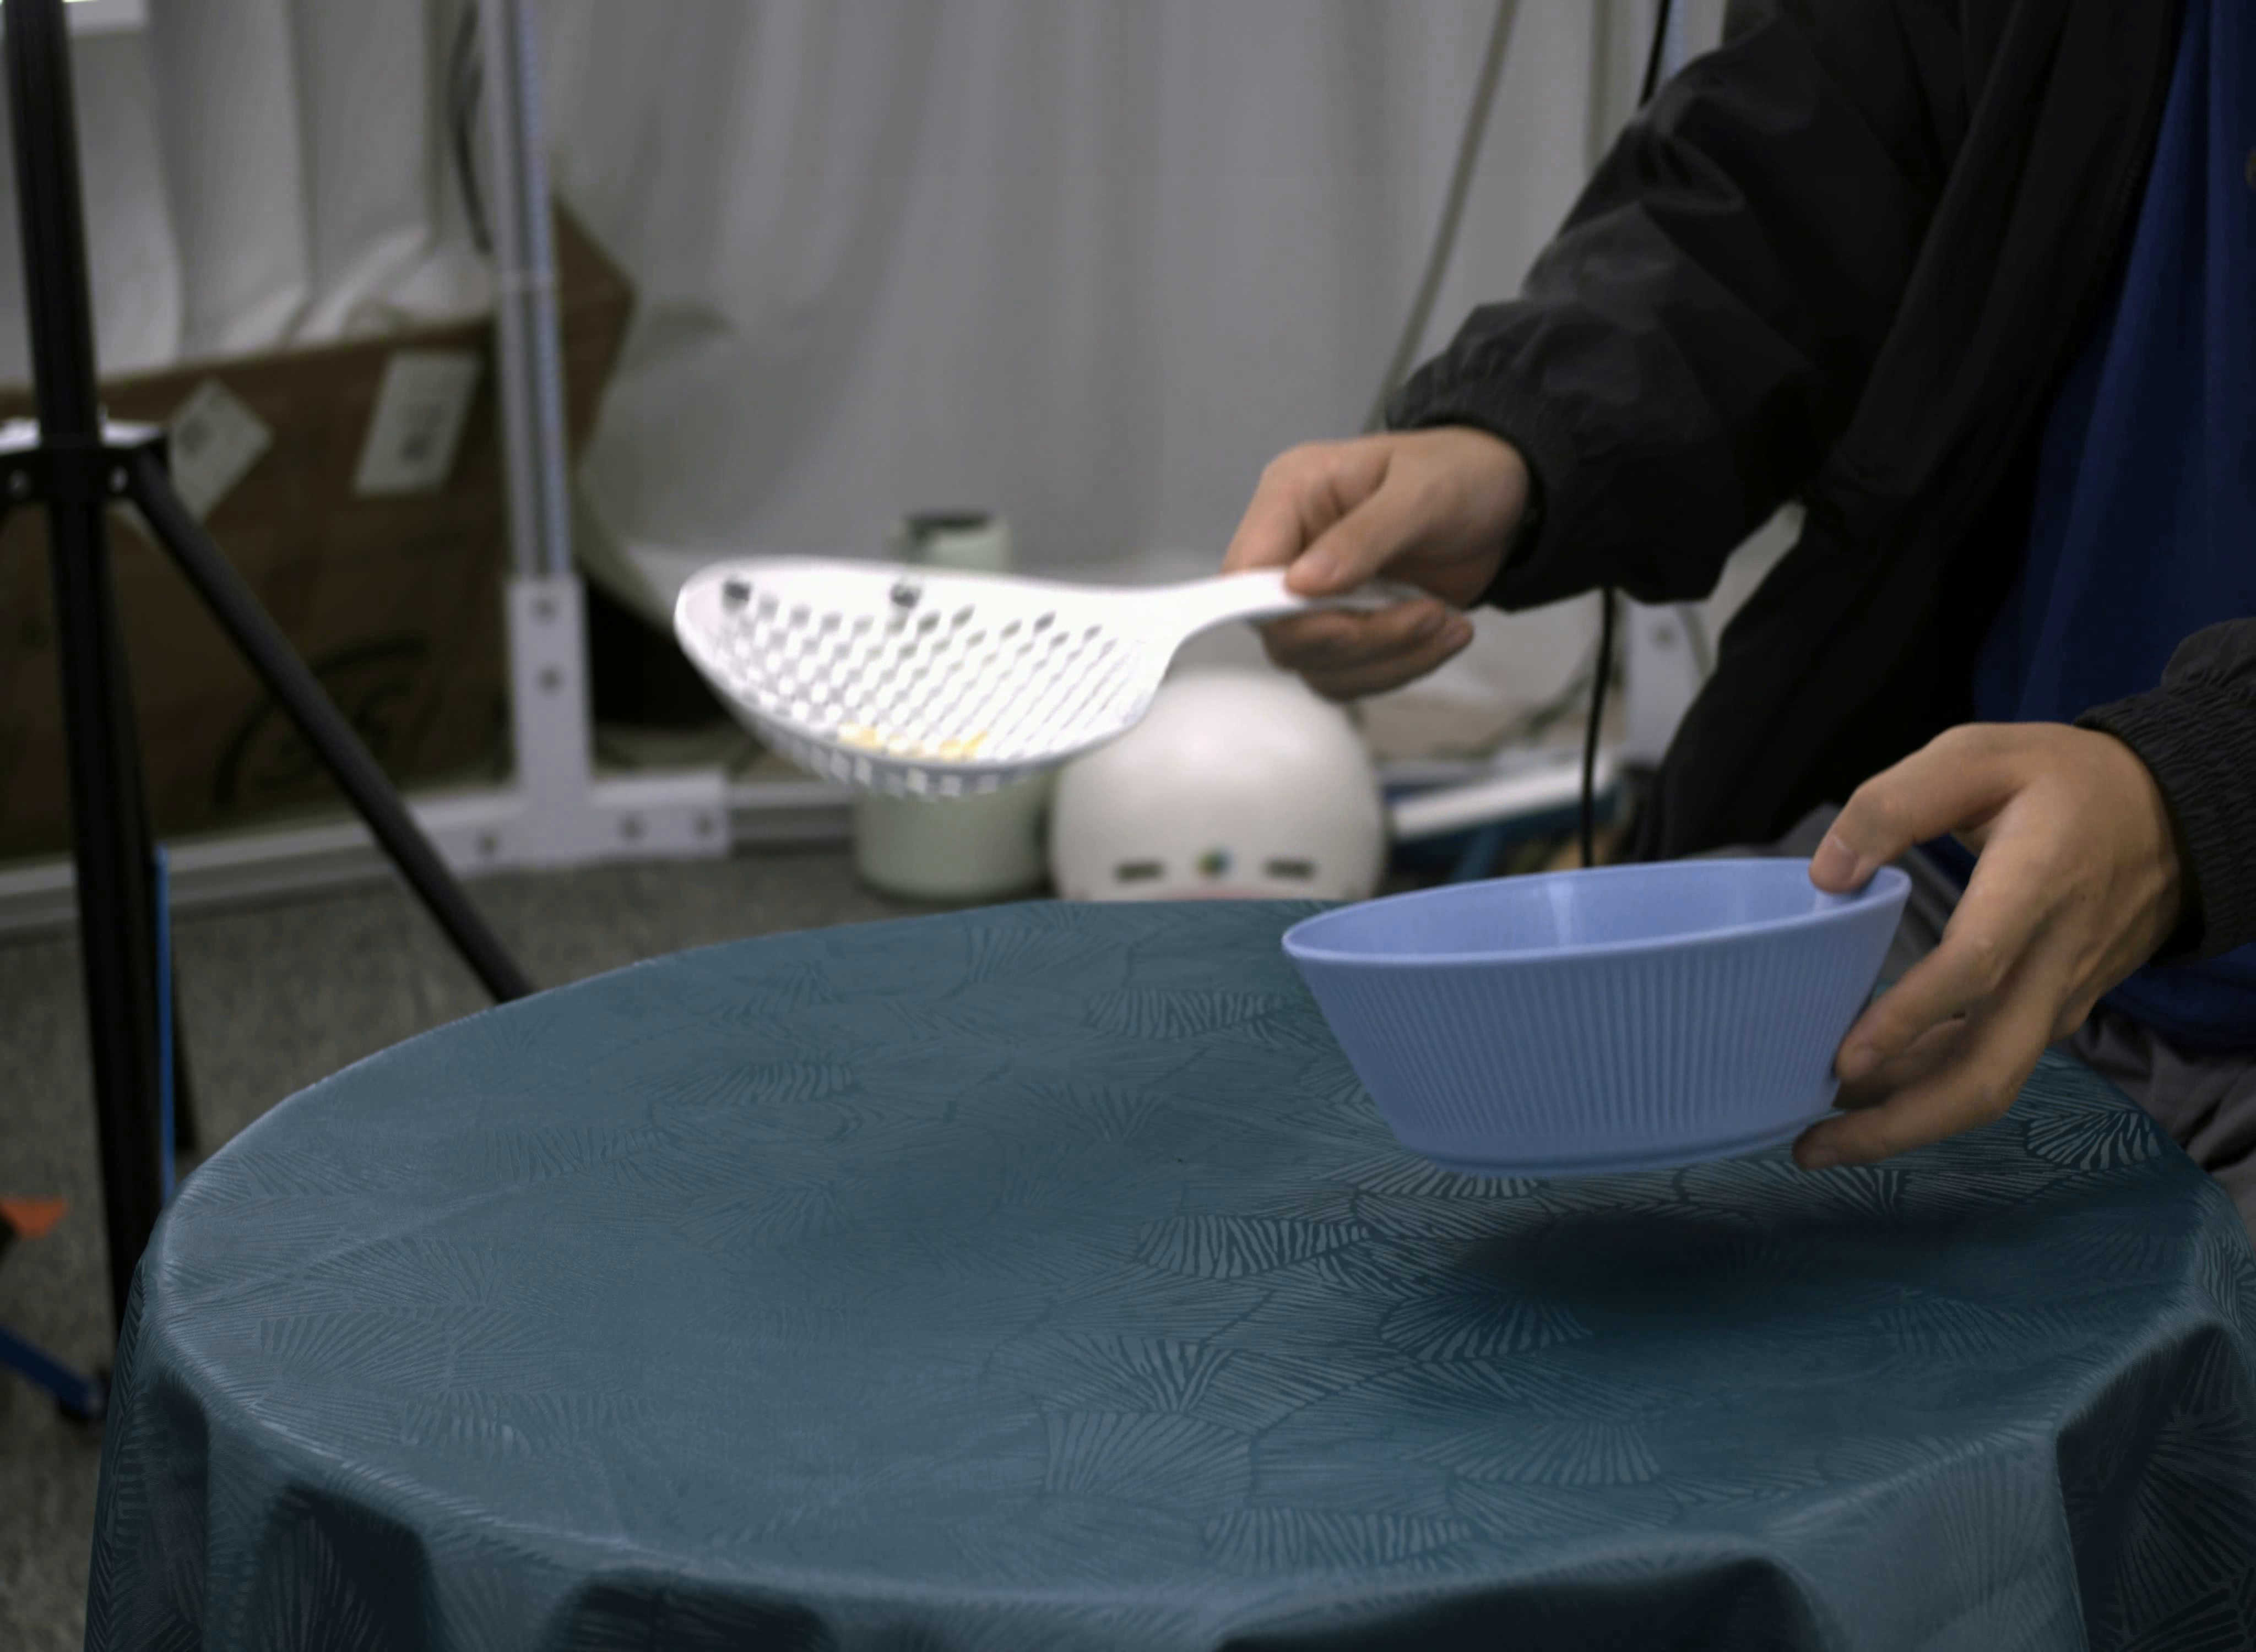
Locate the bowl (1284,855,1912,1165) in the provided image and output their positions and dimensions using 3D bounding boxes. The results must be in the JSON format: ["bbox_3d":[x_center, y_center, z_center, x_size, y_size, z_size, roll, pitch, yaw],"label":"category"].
[{"bbox_3d":[0.133,0.052,1.479,0.175,0.070,0.176,-6,5,-1],"label":"bowl"}]

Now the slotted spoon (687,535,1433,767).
[{"bbox_3d":[0.001,-0.063,1.695,0.140,0.050,0.340,29,28,34],"label":"slotted spoon"}]
